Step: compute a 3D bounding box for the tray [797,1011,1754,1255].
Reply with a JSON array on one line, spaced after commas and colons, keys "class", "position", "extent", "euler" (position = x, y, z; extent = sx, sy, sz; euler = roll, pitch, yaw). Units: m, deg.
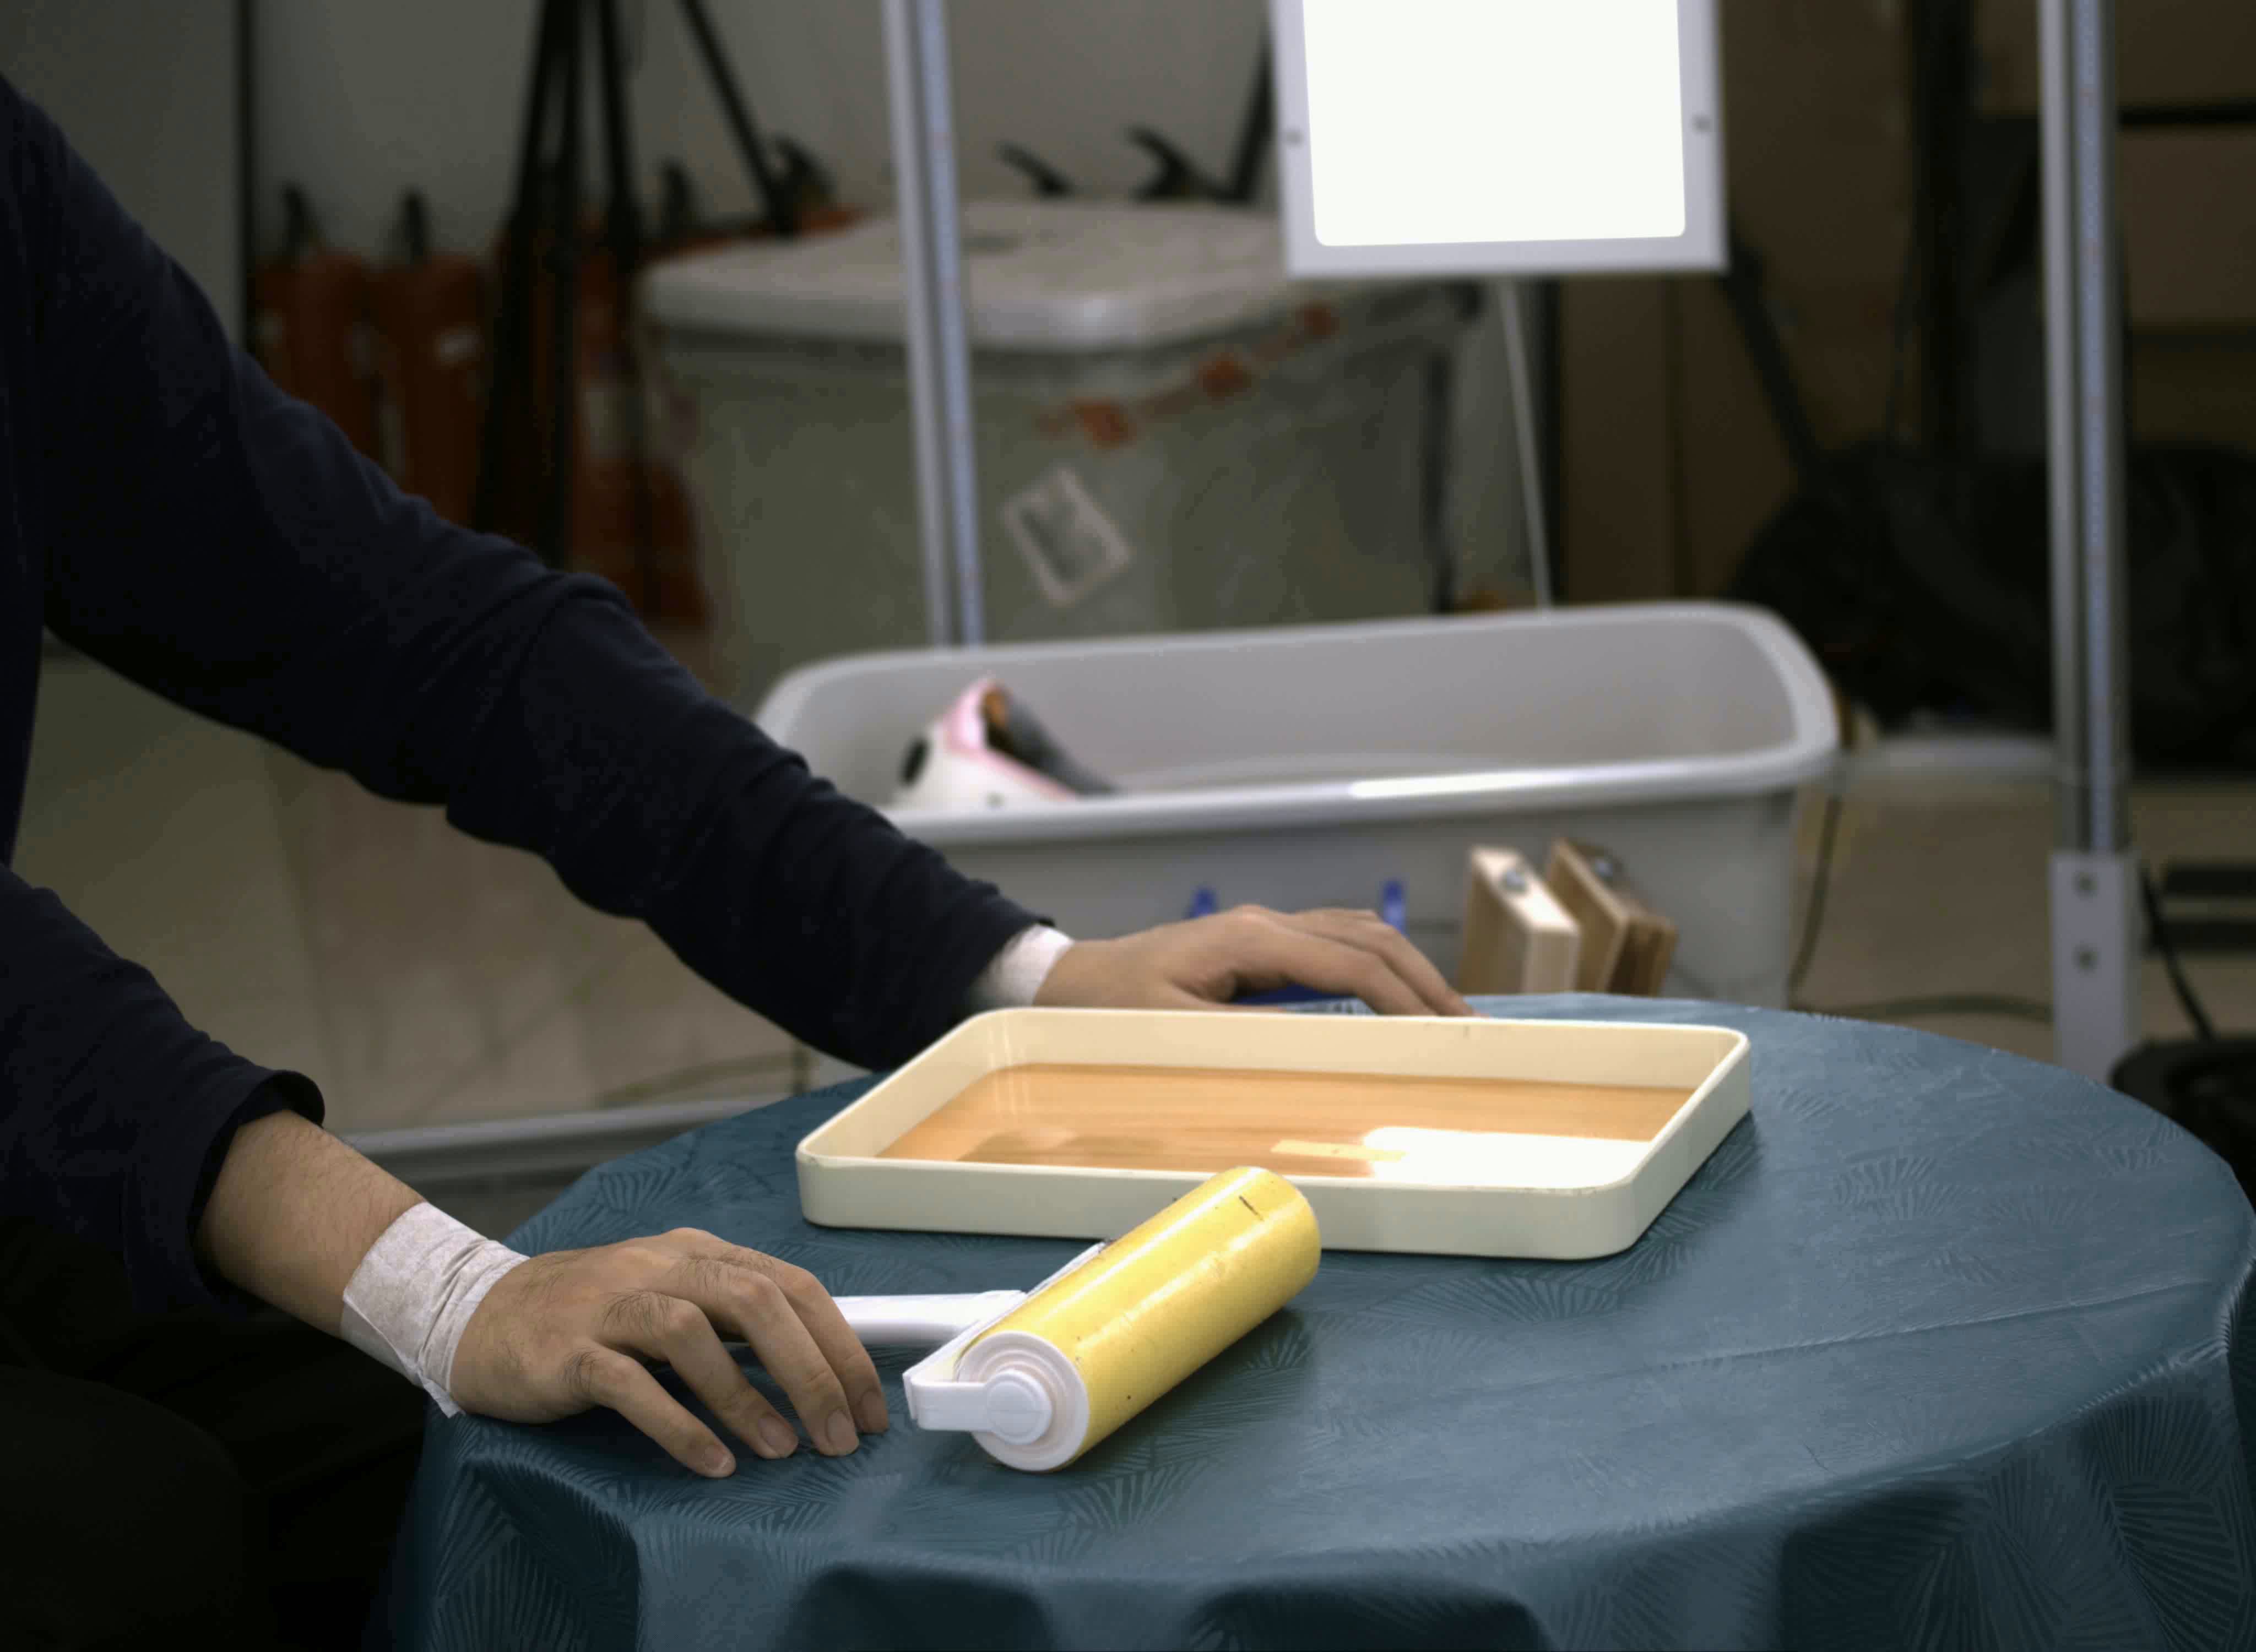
[{"class": "tray", "position": [0.054, 0.105, 1.917], "extent": [0.305, 0.027, 0.188], "euler": [1, 14, 24]}]

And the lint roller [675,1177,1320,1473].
[{"class": "lint roller", "position": [-0.058, 0.148, 1.735], "extent": [0.195, 0.051, 0.170], "euler": [6, 16, 27]}]
